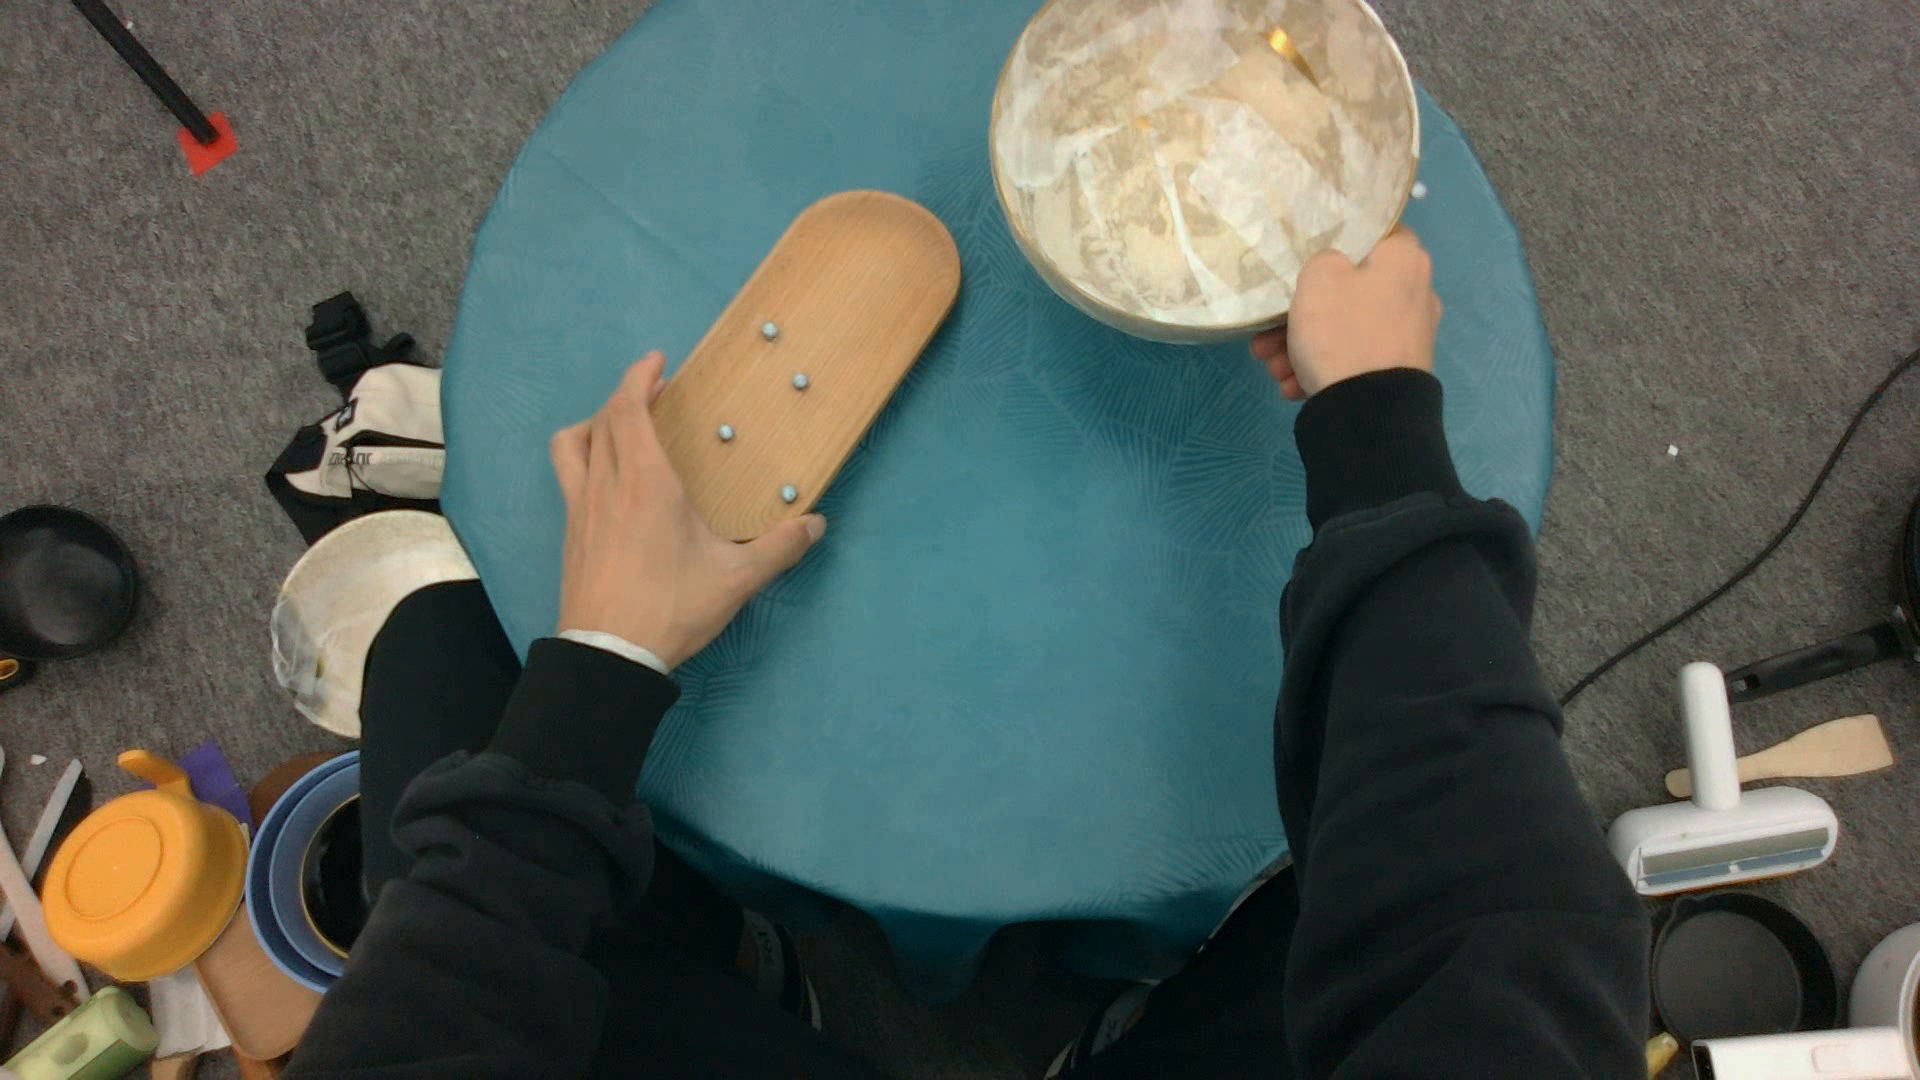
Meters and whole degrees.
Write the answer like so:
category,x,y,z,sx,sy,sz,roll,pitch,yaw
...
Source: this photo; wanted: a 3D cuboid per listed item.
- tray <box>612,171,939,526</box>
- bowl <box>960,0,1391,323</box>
category,x,y,z,sx,sy,sz,roll,pitch,yaw
tray,-0.094,-0.105,0.726,0.101,0.020,0.232,29,65,6
bowl,0.099,-0.195,0.688,0.214,0.094,0.215,0,80,1
